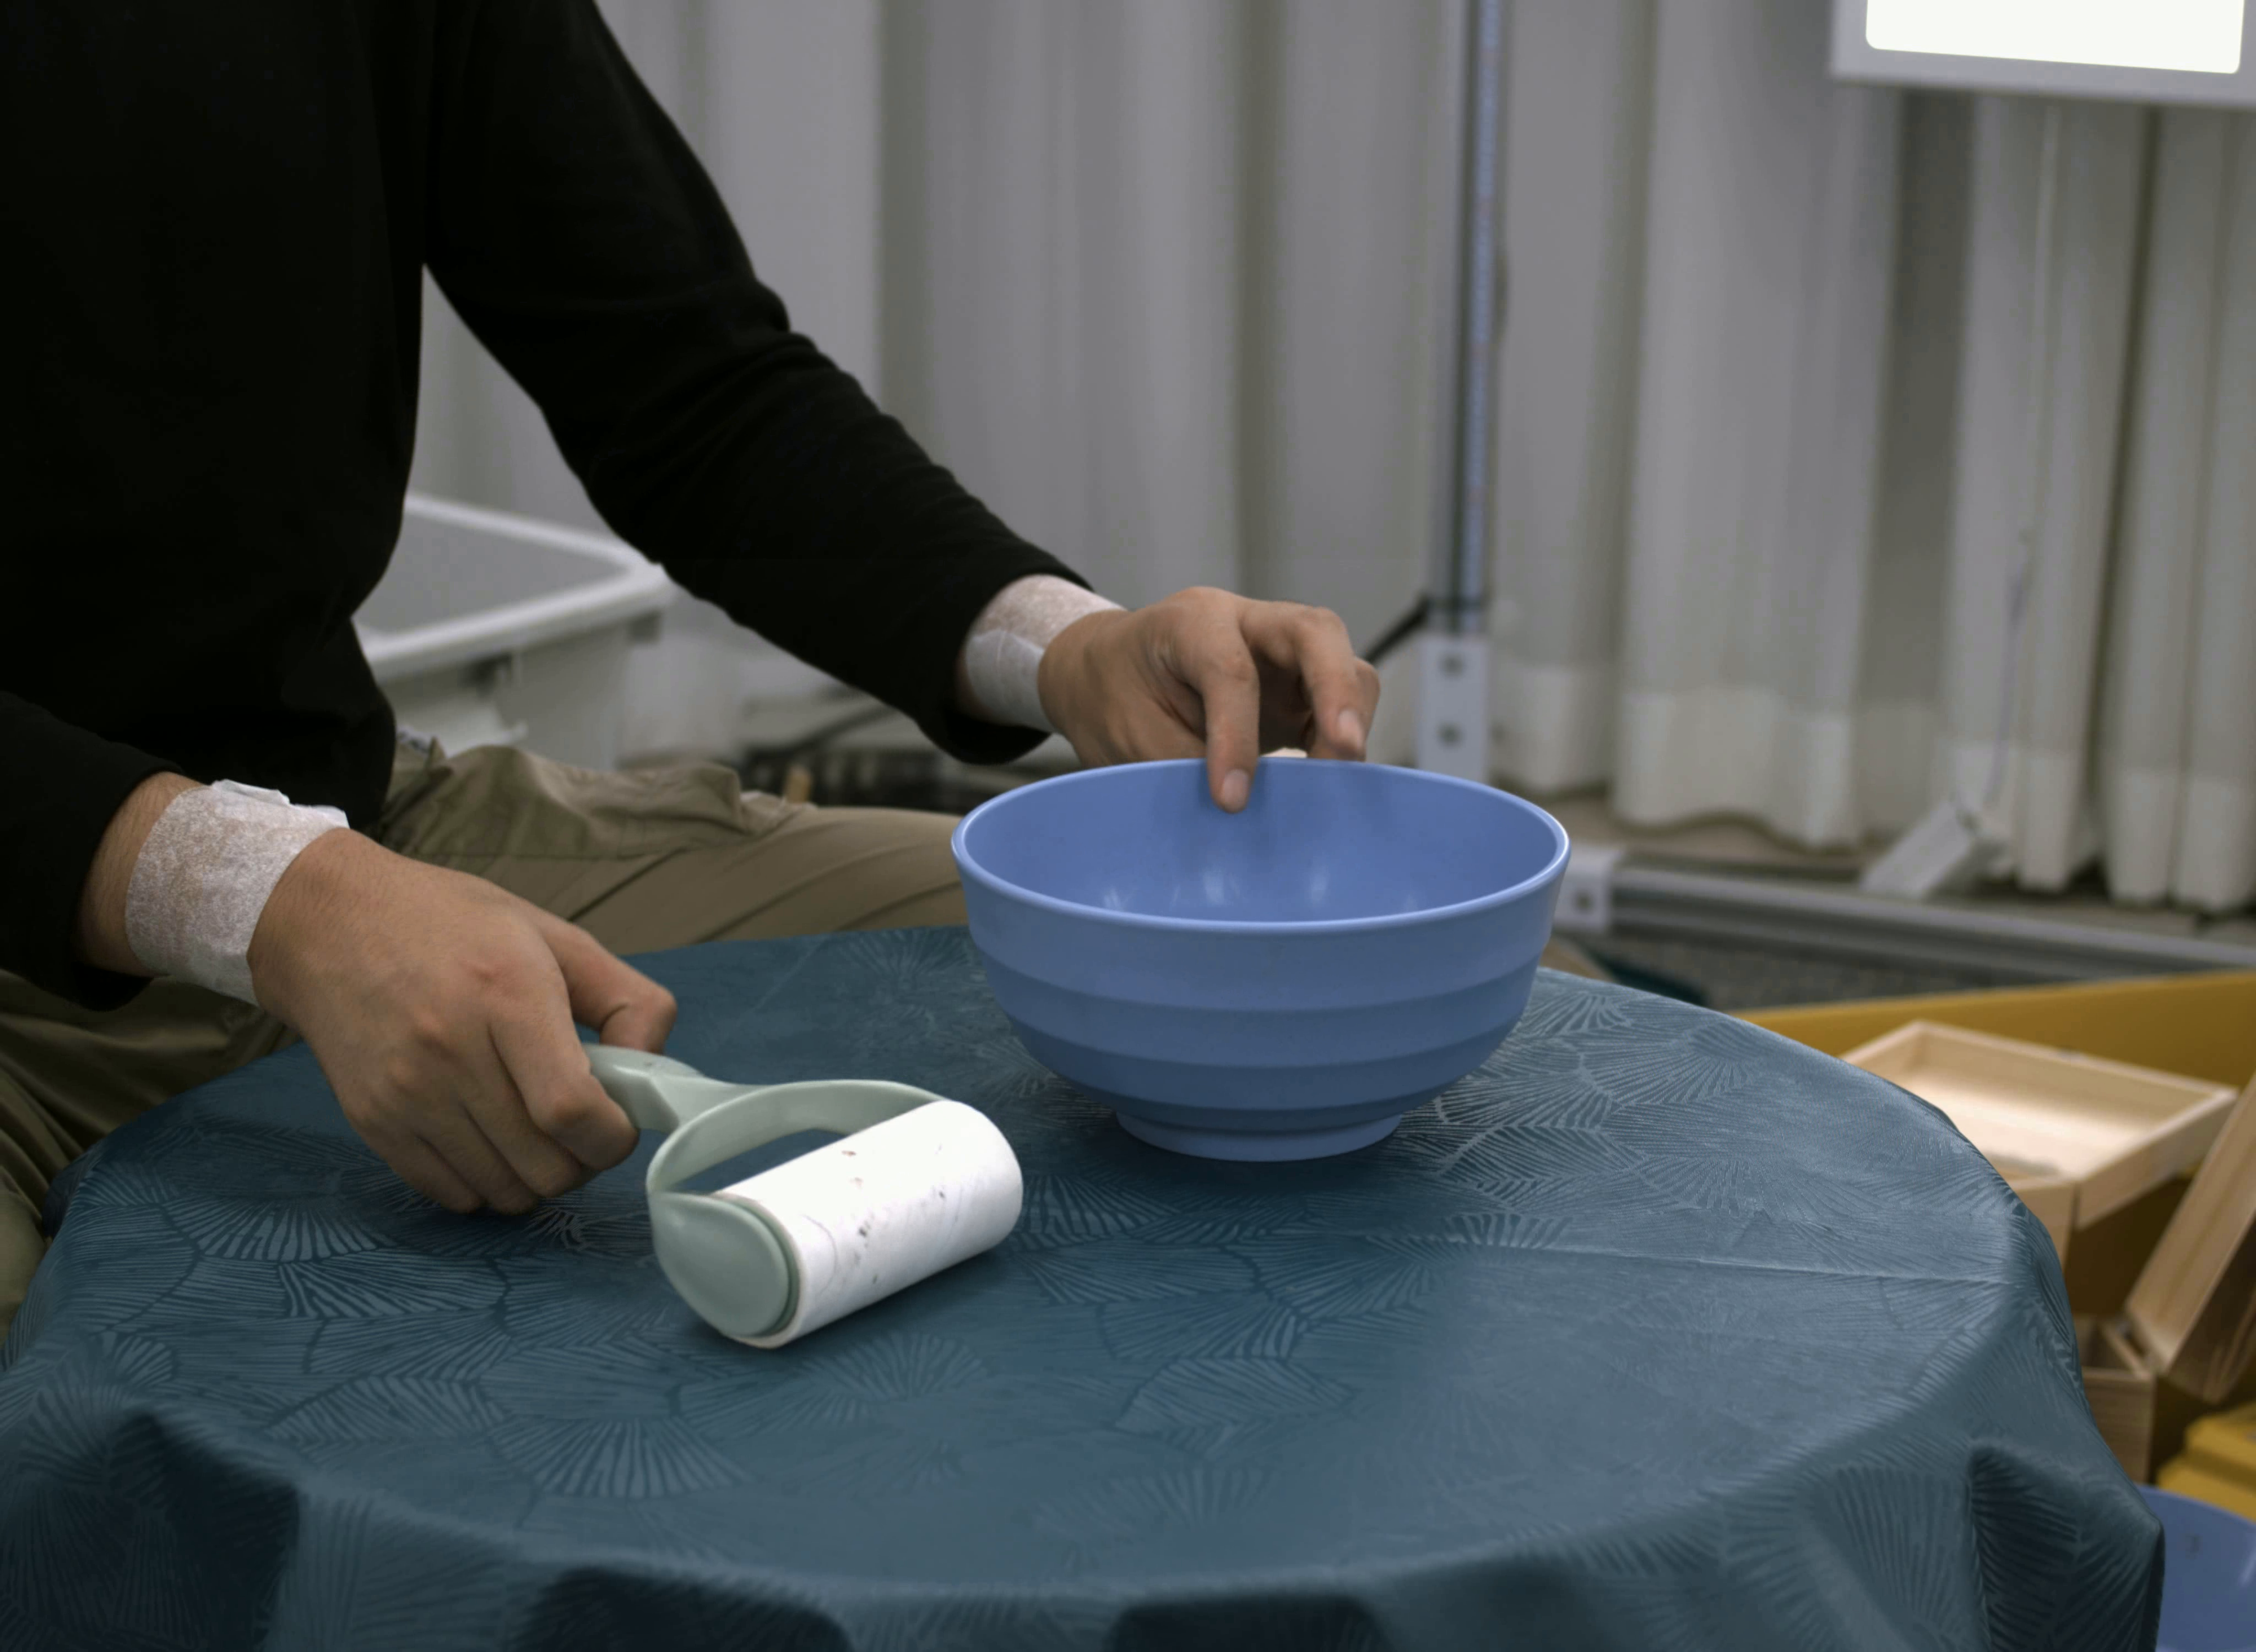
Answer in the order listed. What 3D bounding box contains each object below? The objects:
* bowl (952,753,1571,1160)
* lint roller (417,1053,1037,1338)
[{"bbox_3d":[0.043,0.047,1.678,0.196,0.096,0.195,0,17,1],"label":"bowl"},{"bbox_3d":[-0.133,0.093,1.566,0.195,0.049,0.117,18,24,32],"label":"lint roller"}]
